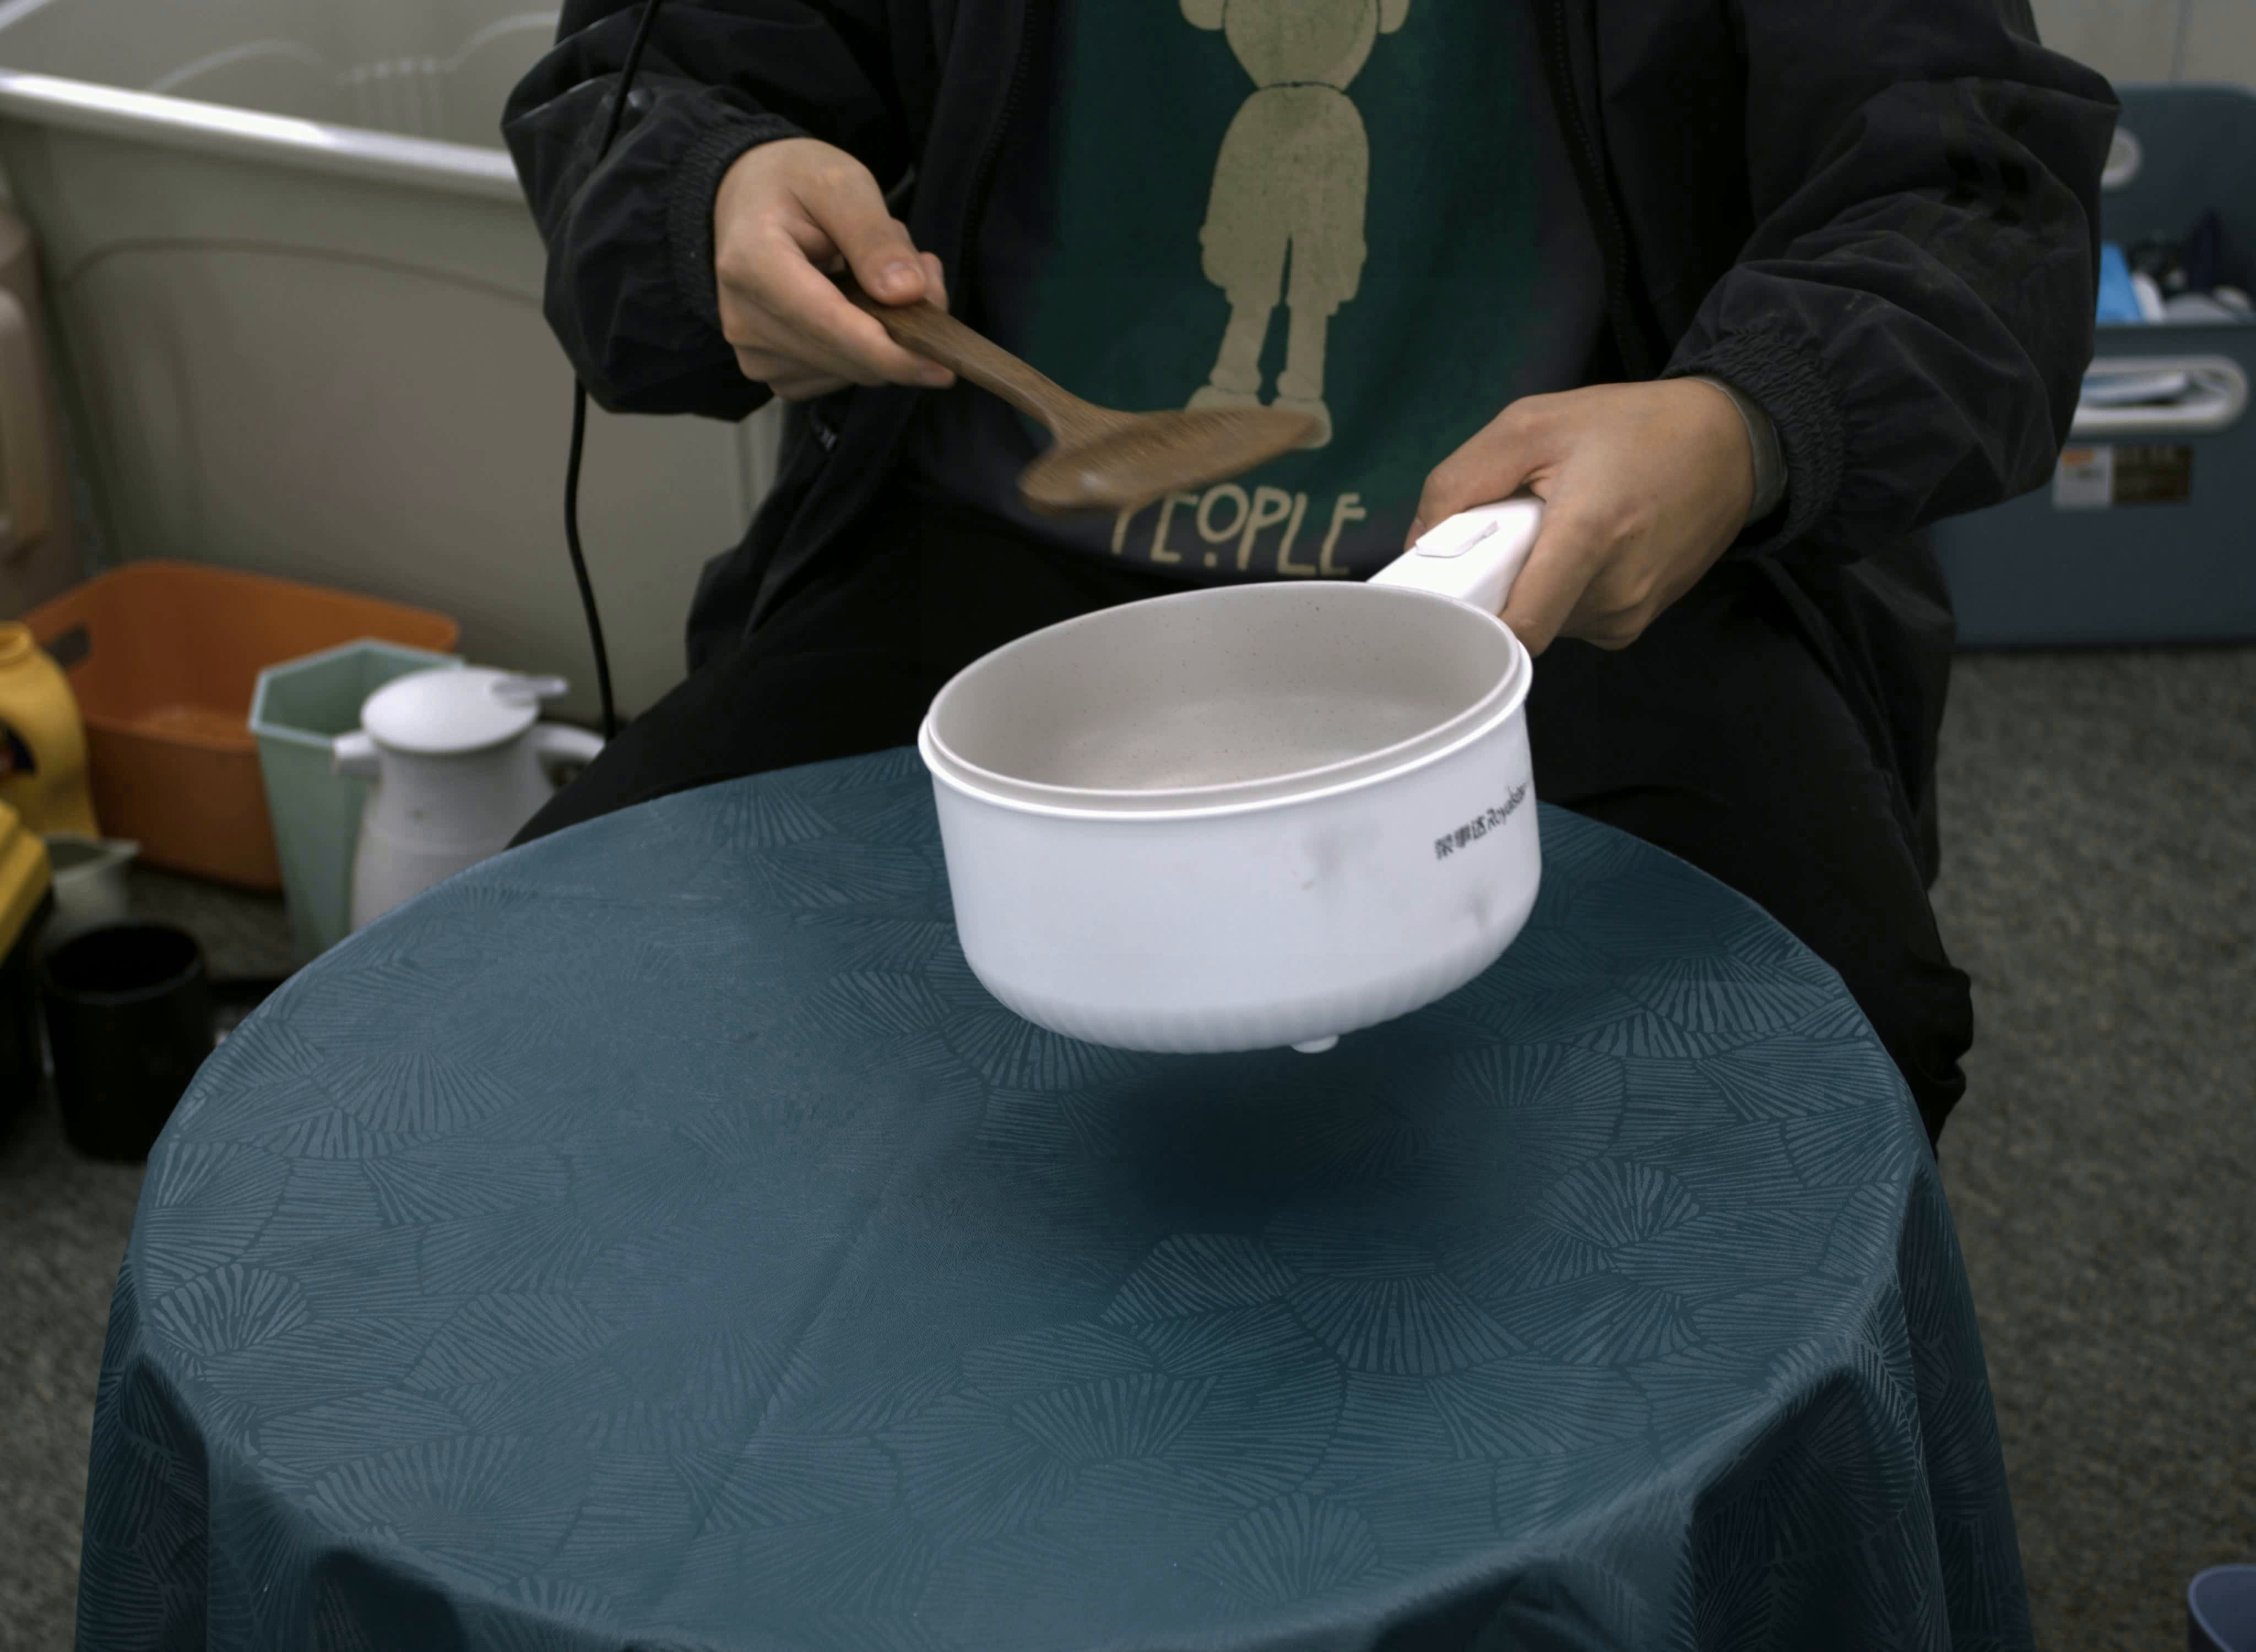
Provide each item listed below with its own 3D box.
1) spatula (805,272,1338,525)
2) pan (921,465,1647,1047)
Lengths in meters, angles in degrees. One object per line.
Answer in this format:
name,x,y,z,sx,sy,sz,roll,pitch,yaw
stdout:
spatula,-0.040,-0.154,1.950,0.096,0.015,0.387,-19,22,-17
pan,0.077,-0.026,1.900,0.199,0.101,0.360,4,22,32
